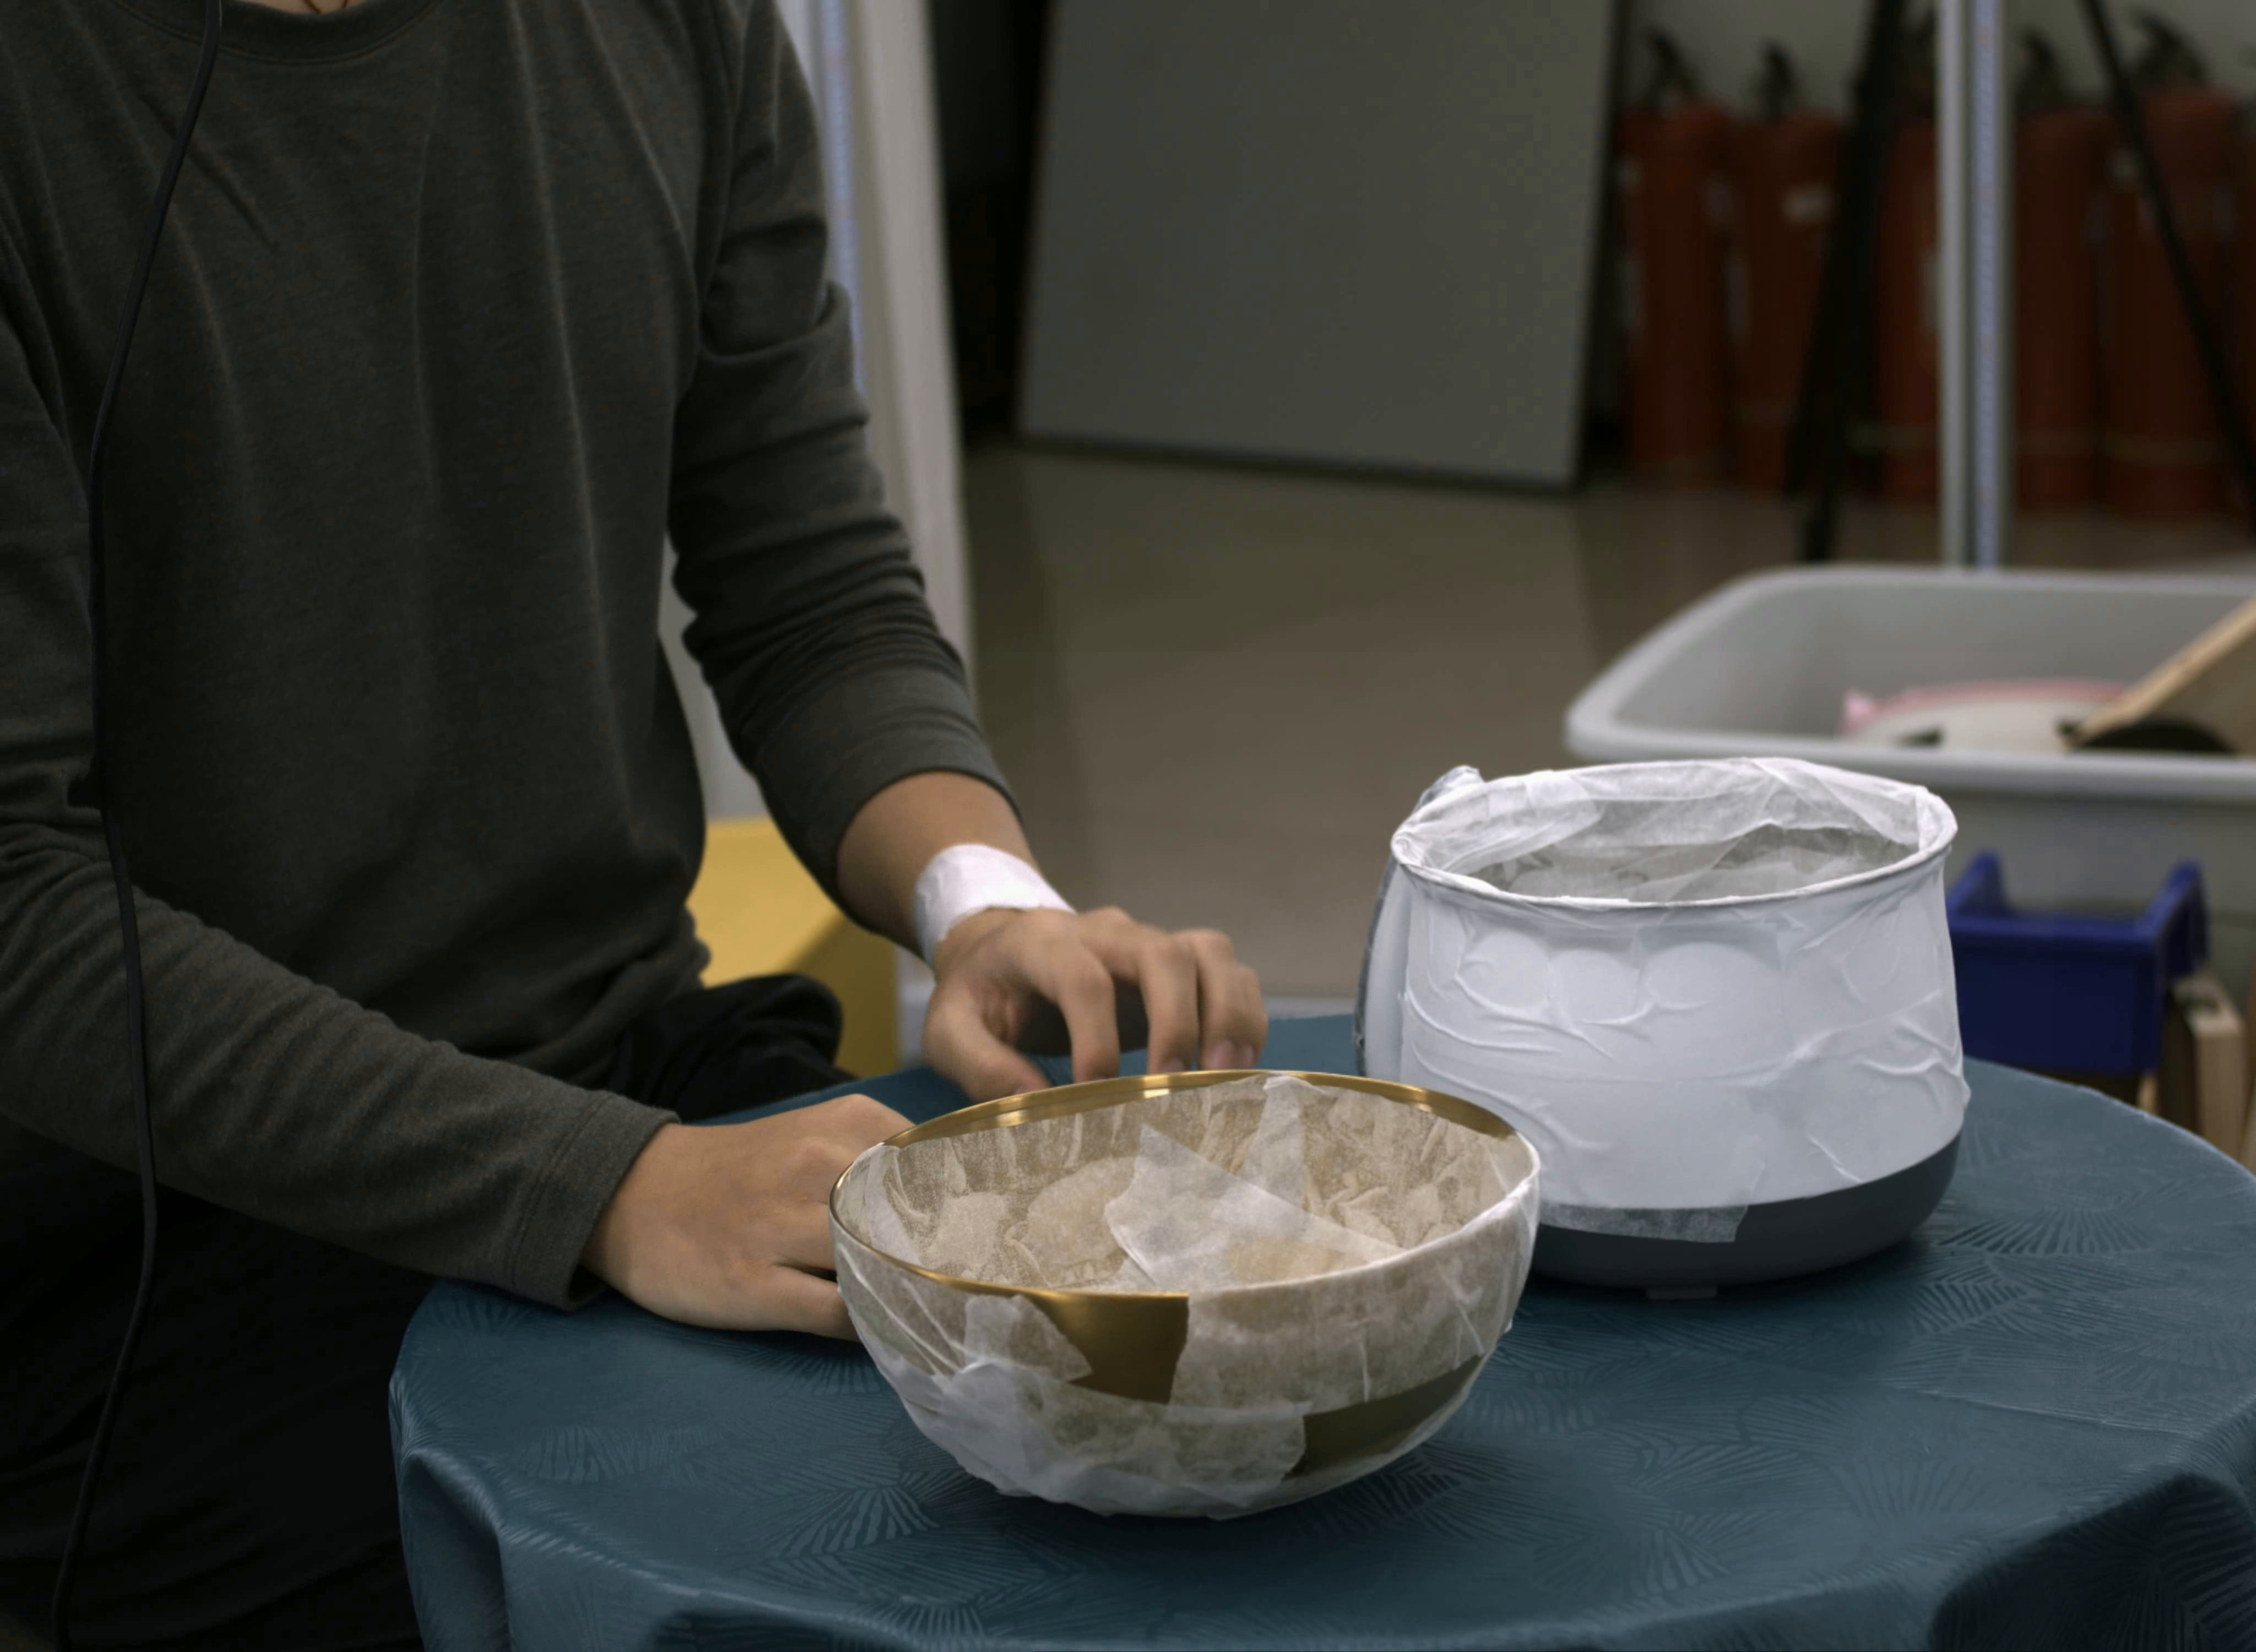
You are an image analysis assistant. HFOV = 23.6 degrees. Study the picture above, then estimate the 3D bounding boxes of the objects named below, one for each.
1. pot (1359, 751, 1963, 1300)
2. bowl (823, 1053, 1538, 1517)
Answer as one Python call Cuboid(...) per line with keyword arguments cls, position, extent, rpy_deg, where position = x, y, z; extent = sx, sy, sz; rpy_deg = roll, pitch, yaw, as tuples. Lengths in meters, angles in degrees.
Cuboid(cls="pot", position=(0.155, 0.056, 1.704), extent=(0.175, 0.138, 0.236), rpy_deg=(-14, 16, -36))
Cuboid(cls="bowl", position=(0.016, 0.135, 1.509), extent=(0.212, 0.095, 0.215), rpy_deg=(-6, 14, 1))
